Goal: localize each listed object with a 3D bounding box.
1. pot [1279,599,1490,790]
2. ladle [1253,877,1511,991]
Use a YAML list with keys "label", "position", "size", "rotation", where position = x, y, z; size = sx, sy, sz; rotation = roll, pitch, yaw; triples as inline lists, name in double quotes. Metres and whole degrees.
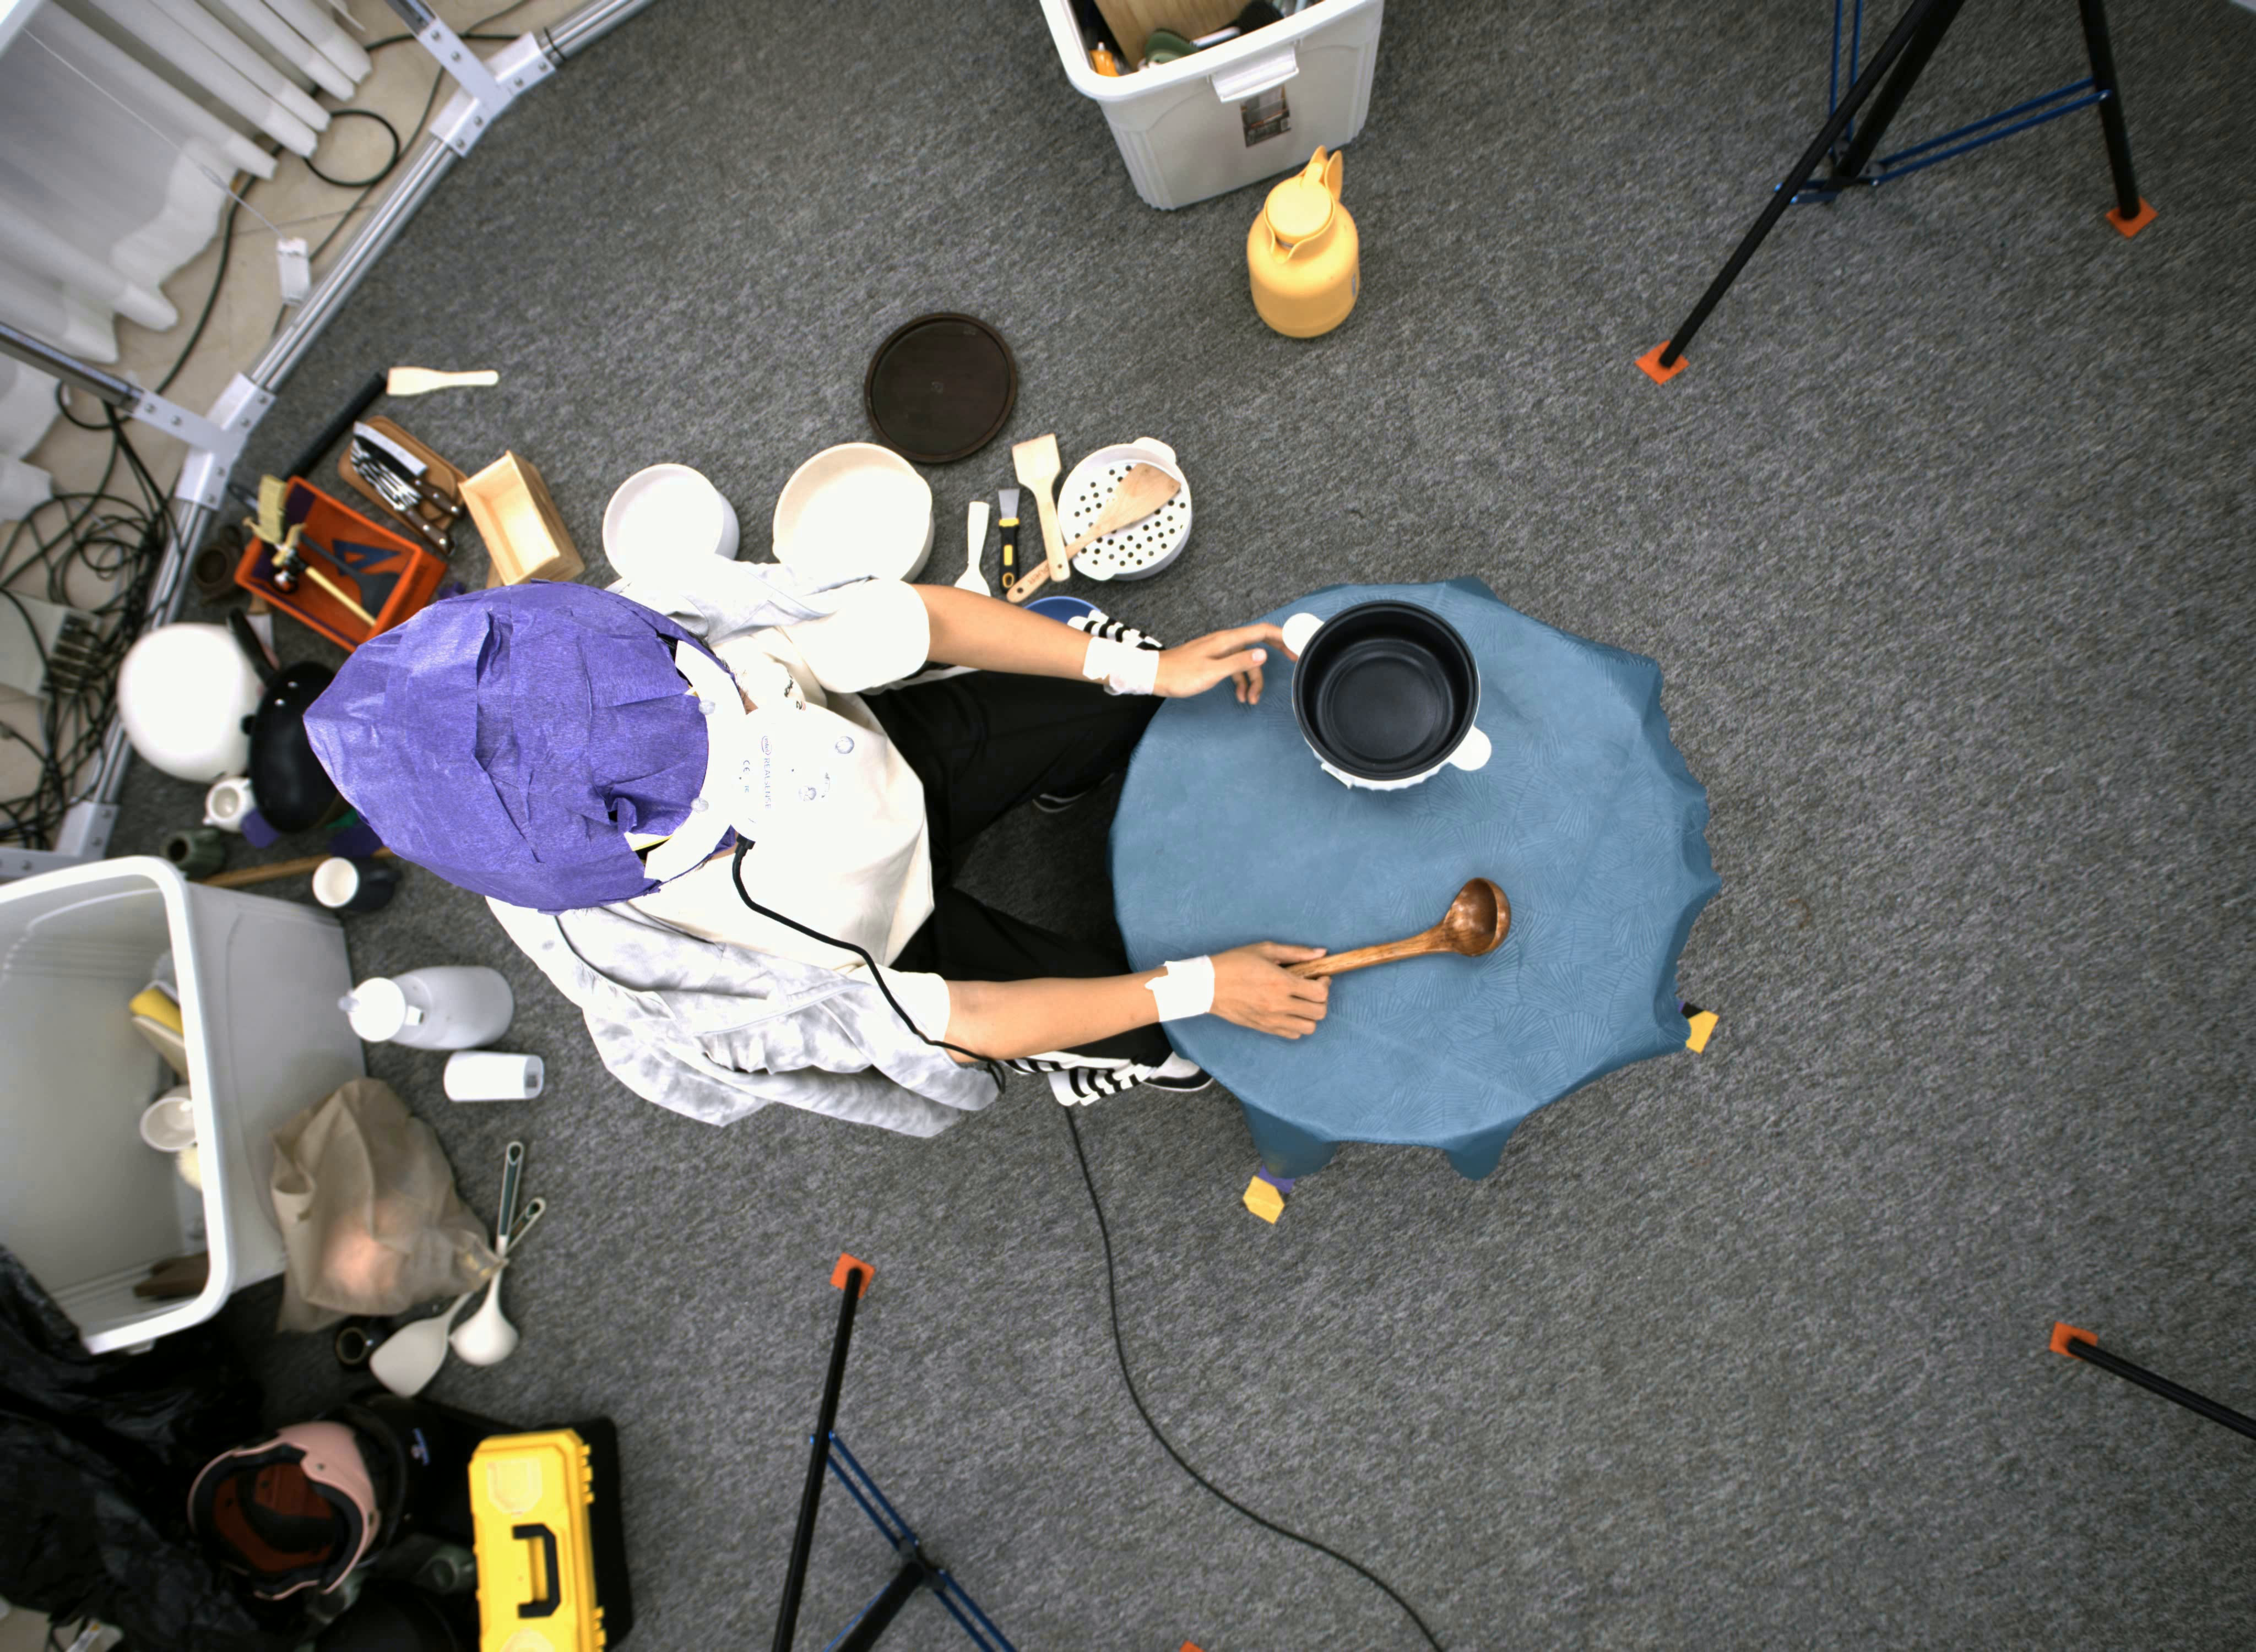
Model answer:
- label: "pot"
  position: [0.263, -0.133, 1.400]
  size: [0.240, 0.142, 0.191]
  rotation: [36, 96, 10]
- label: "ladle"
  position: [0.257, 0.118, 1.420]
  size: [0.275, 0.078, 0.080]
  rotation: [-13, 52, 10]
